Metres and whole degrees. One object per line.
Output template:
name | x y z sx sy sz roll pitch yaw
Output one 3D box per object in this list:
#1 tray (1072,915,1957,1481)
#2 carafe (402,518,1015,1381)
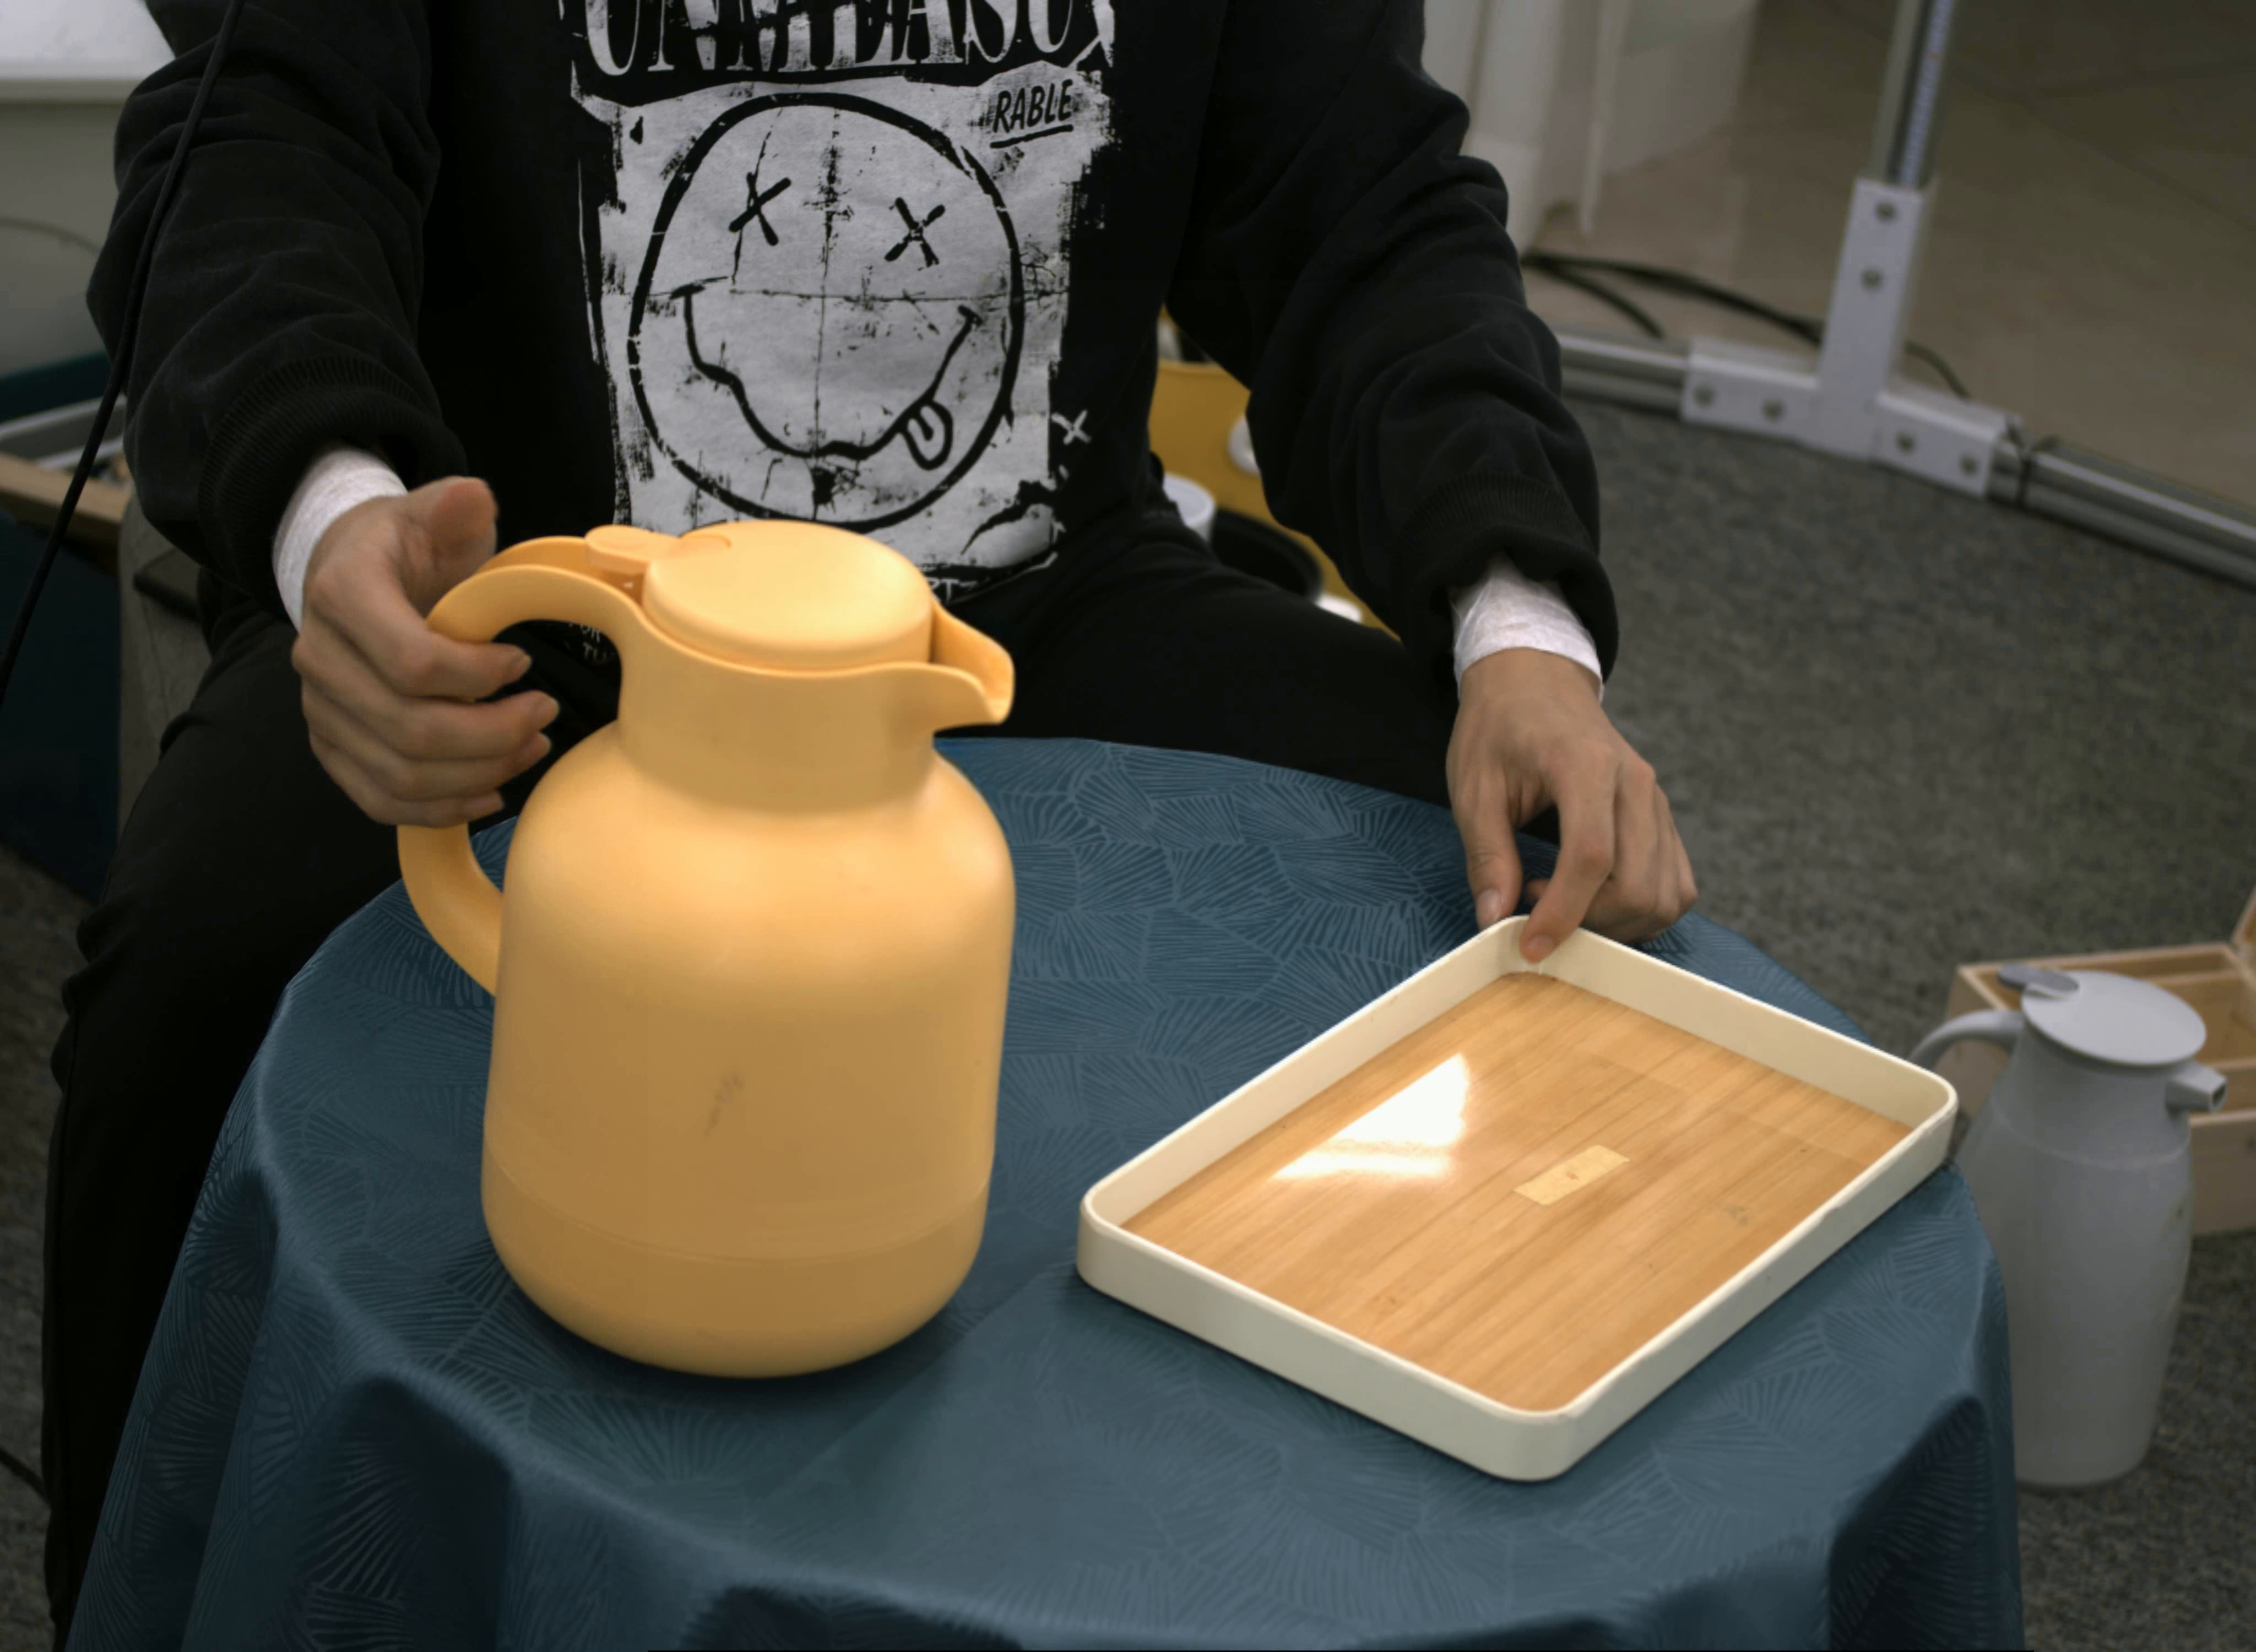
tray | 0.136 0.120 1.814 0.193 0.027 0.299 23 31 28
carafe | -0.135 0.028 1.678 0.203 0.260 0.163 16 26 17
